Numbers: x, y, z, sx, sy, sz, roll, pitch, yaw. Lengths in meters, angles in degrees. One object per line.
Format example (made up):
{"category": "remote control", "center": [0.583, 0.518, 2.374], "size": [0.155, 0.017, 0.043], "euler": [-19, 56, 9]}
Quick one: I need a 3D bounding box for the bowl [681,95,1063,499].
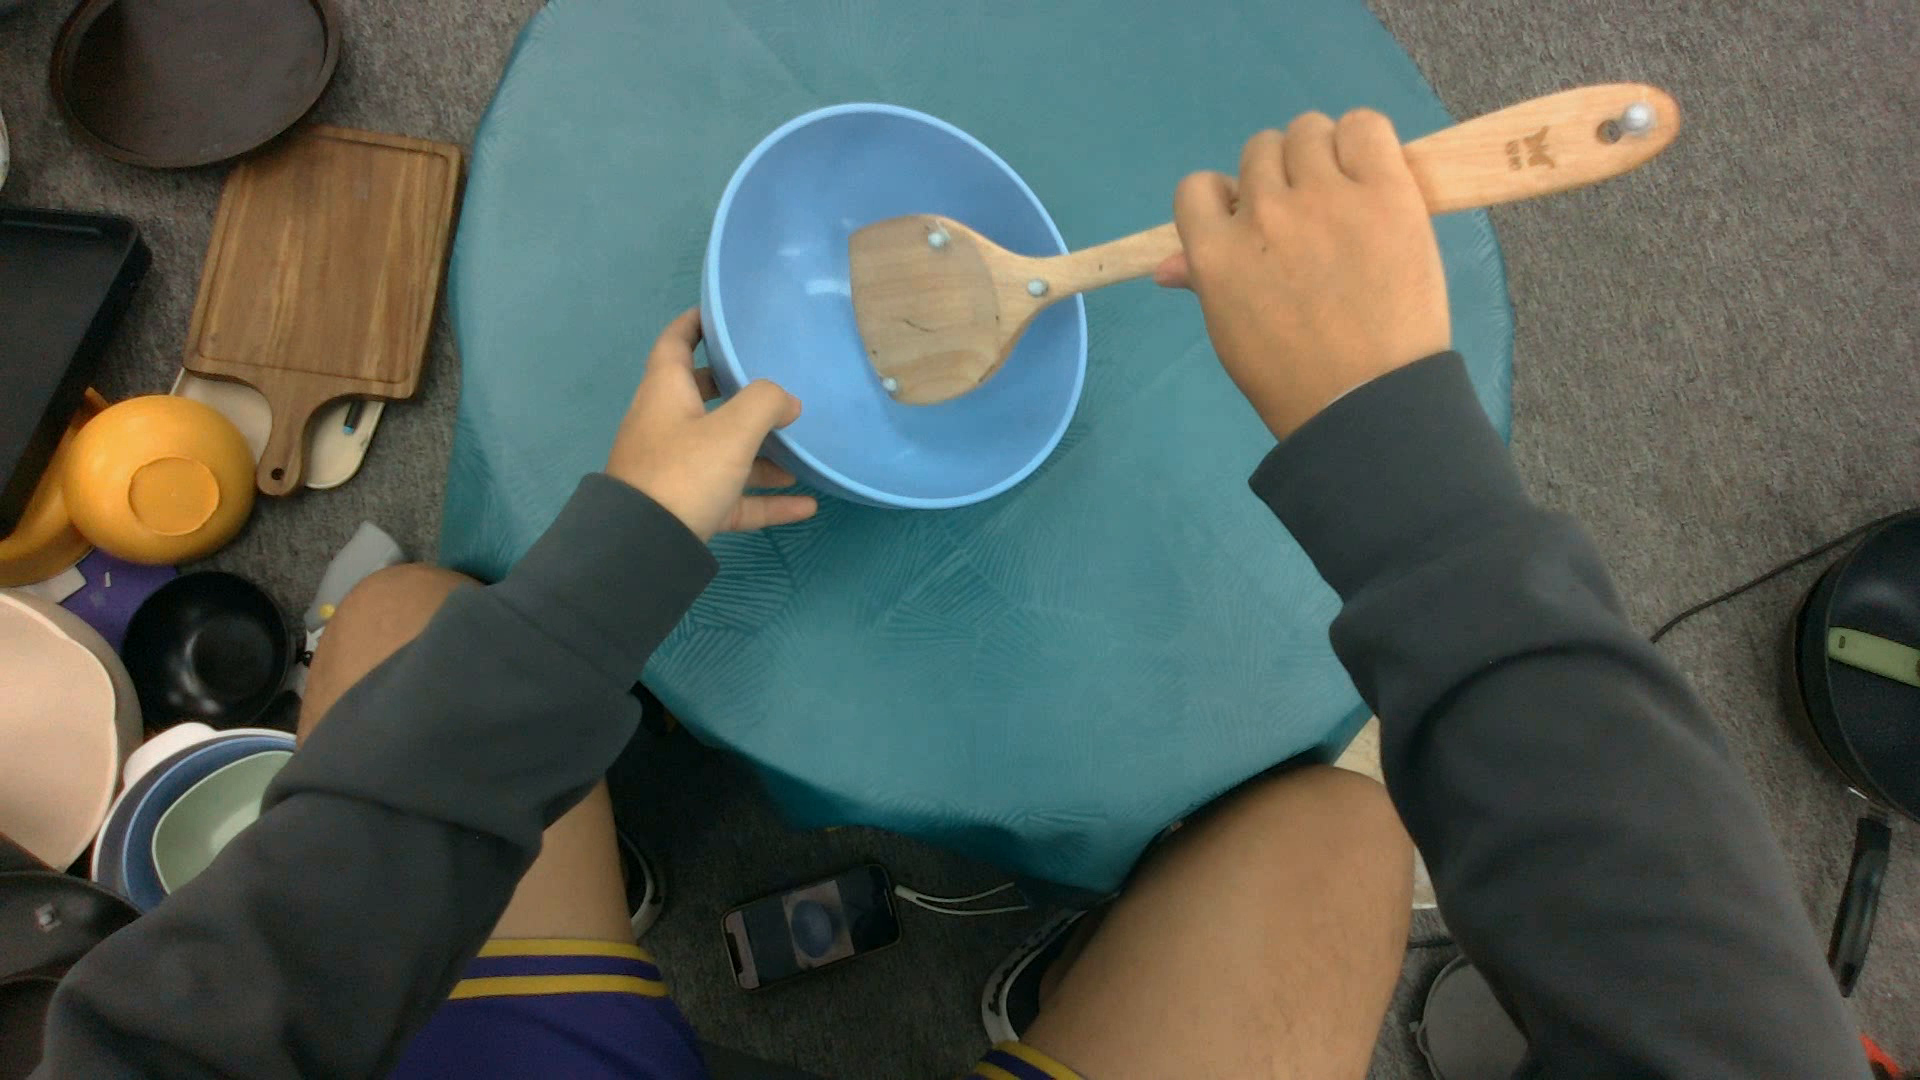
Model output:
{"category": "bowl", "center": [-0.055, -0.107, 0.681], "size": [0.197, 0.095, 0.197], "euler": [8, 74, -31]}

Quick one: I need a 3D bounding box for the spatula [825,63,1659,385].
{"category": "spatula", "center": [0.076, -0.131, 0.560], "size": [0.018, 0.389, 0.095], "euler": [-27, 106, -41]}
